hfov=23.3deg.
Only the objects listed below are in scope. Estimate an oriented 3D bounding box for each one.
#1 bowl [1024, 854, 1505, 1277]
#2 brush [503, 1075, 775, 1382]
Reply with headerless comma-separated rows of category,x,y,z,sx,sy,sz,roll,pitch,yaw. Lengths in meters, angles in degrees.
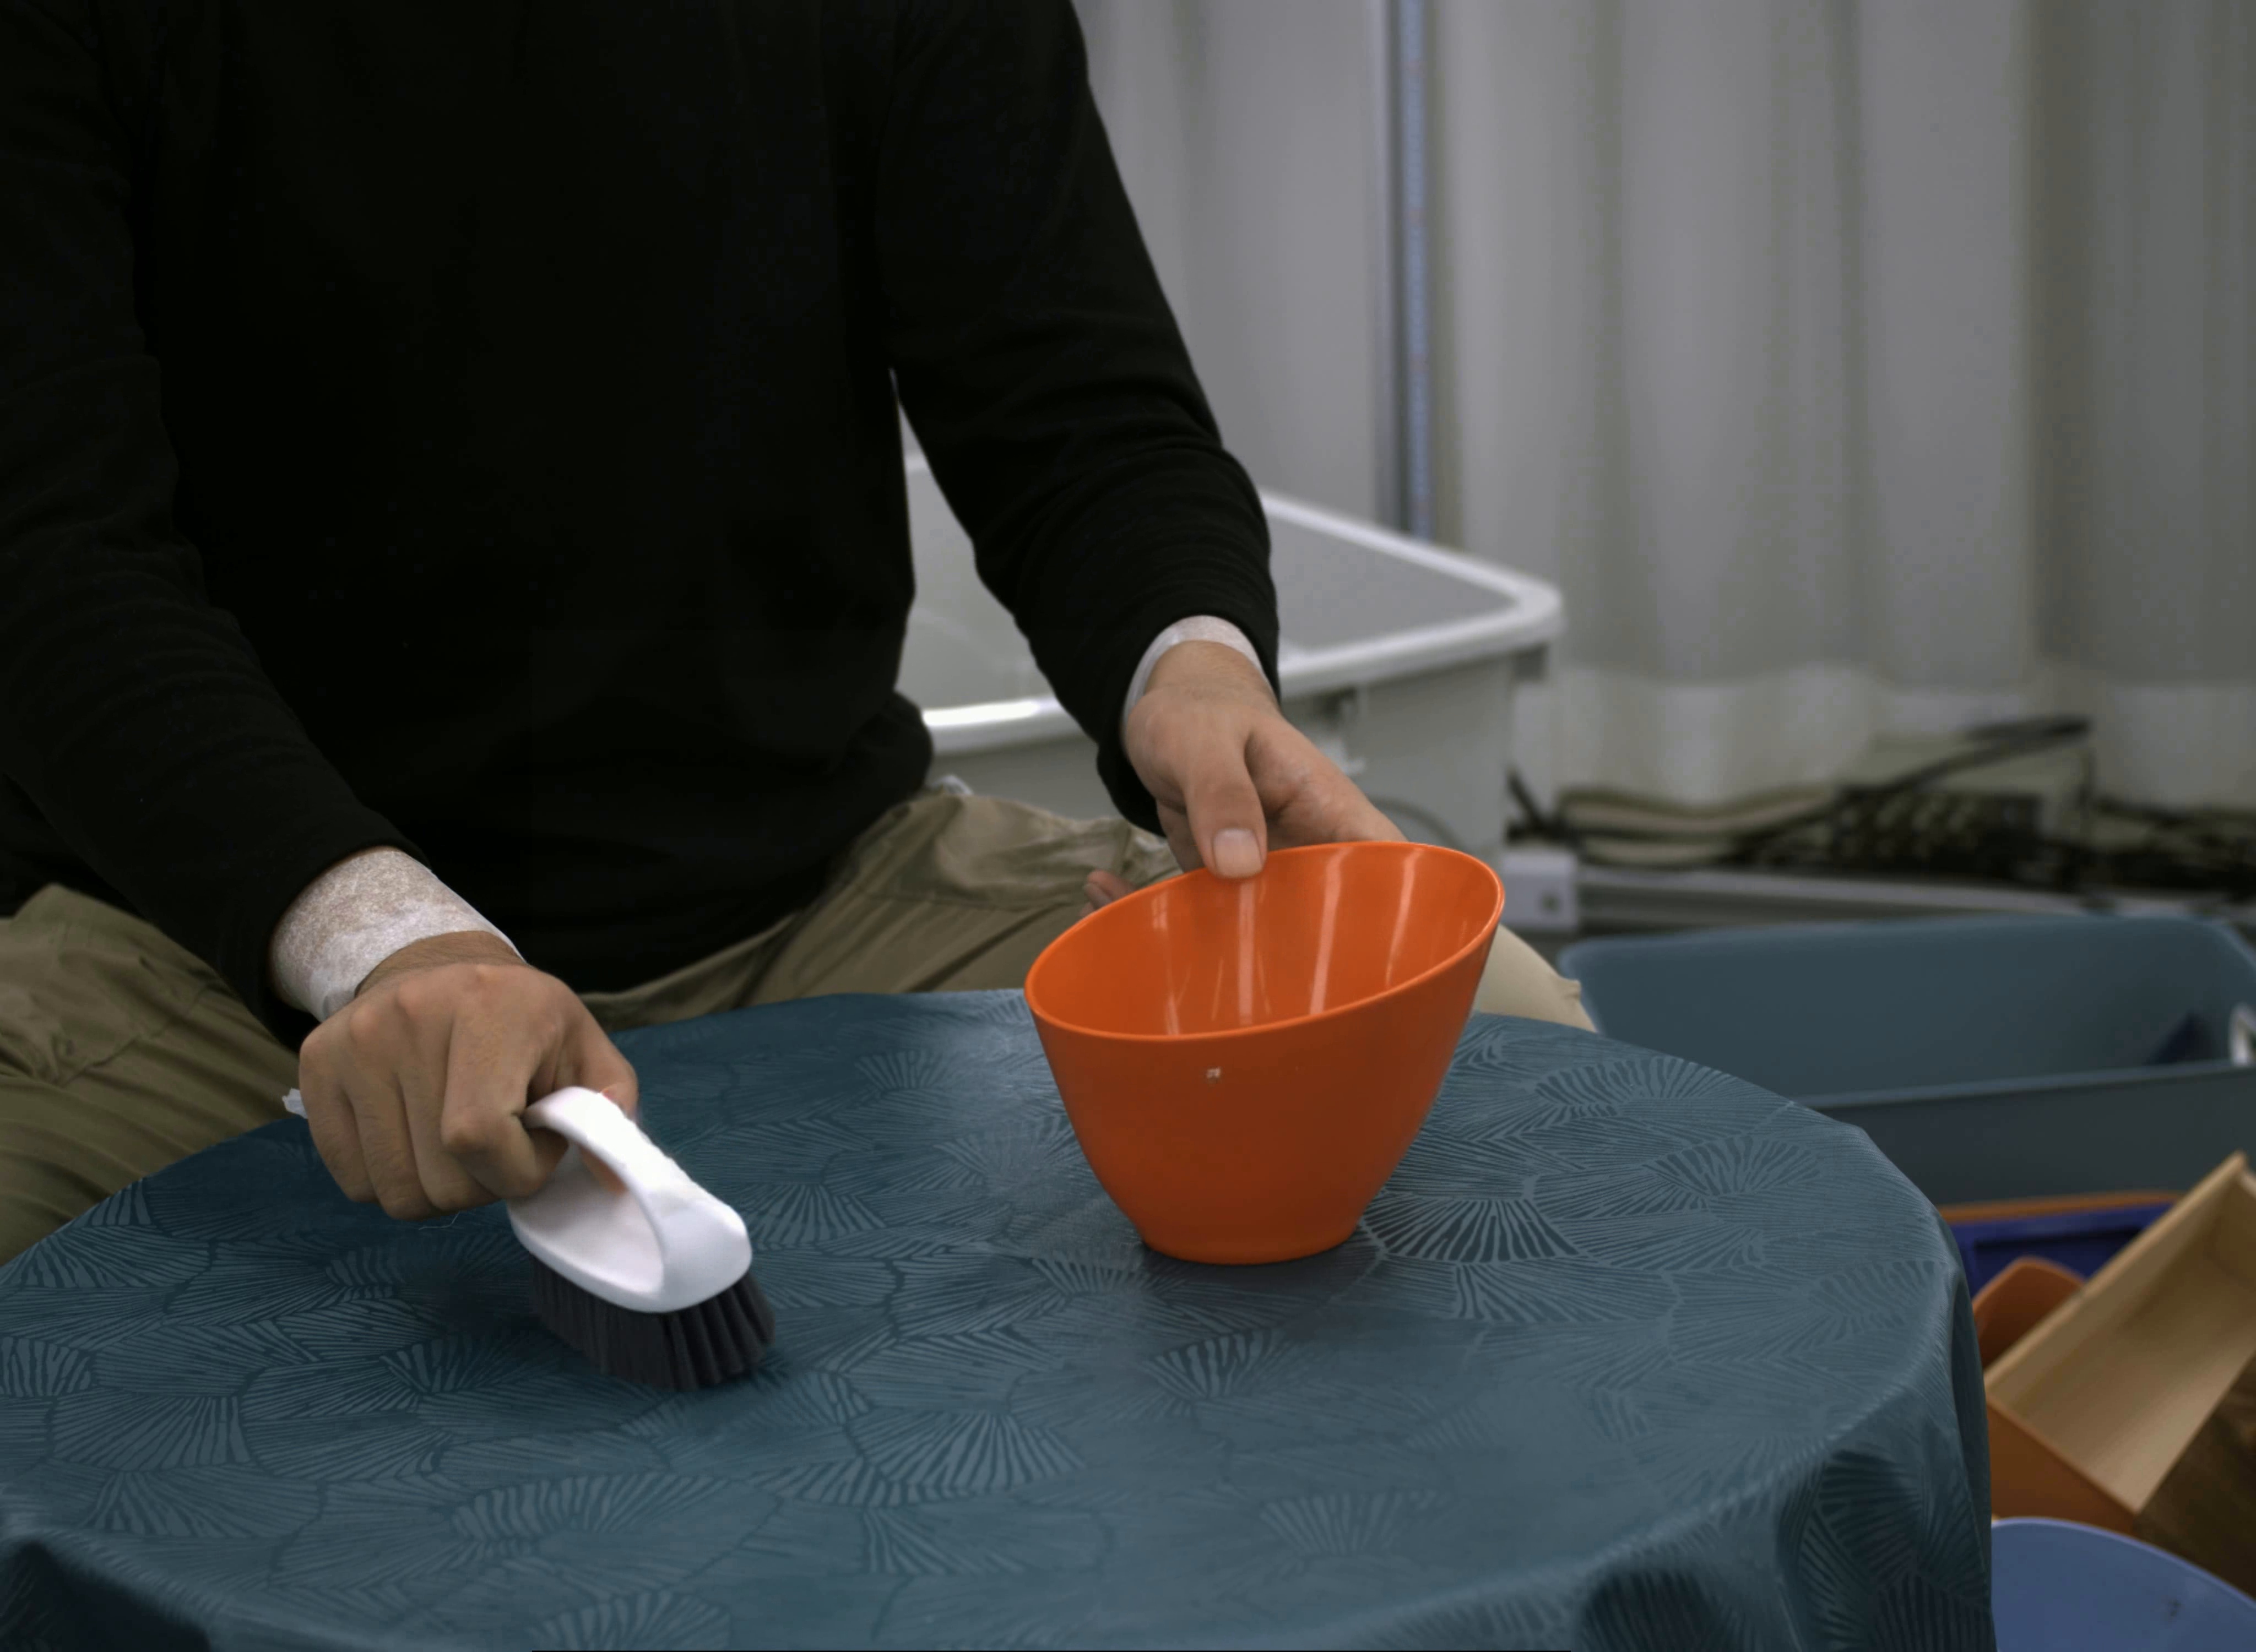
bowl,0.044,0.076,1.663,0.147,0.104,0.149,-4,14,1
brush,-0.148,0.109,1.585,0.050,0.072,0.100,-29,30,-23
